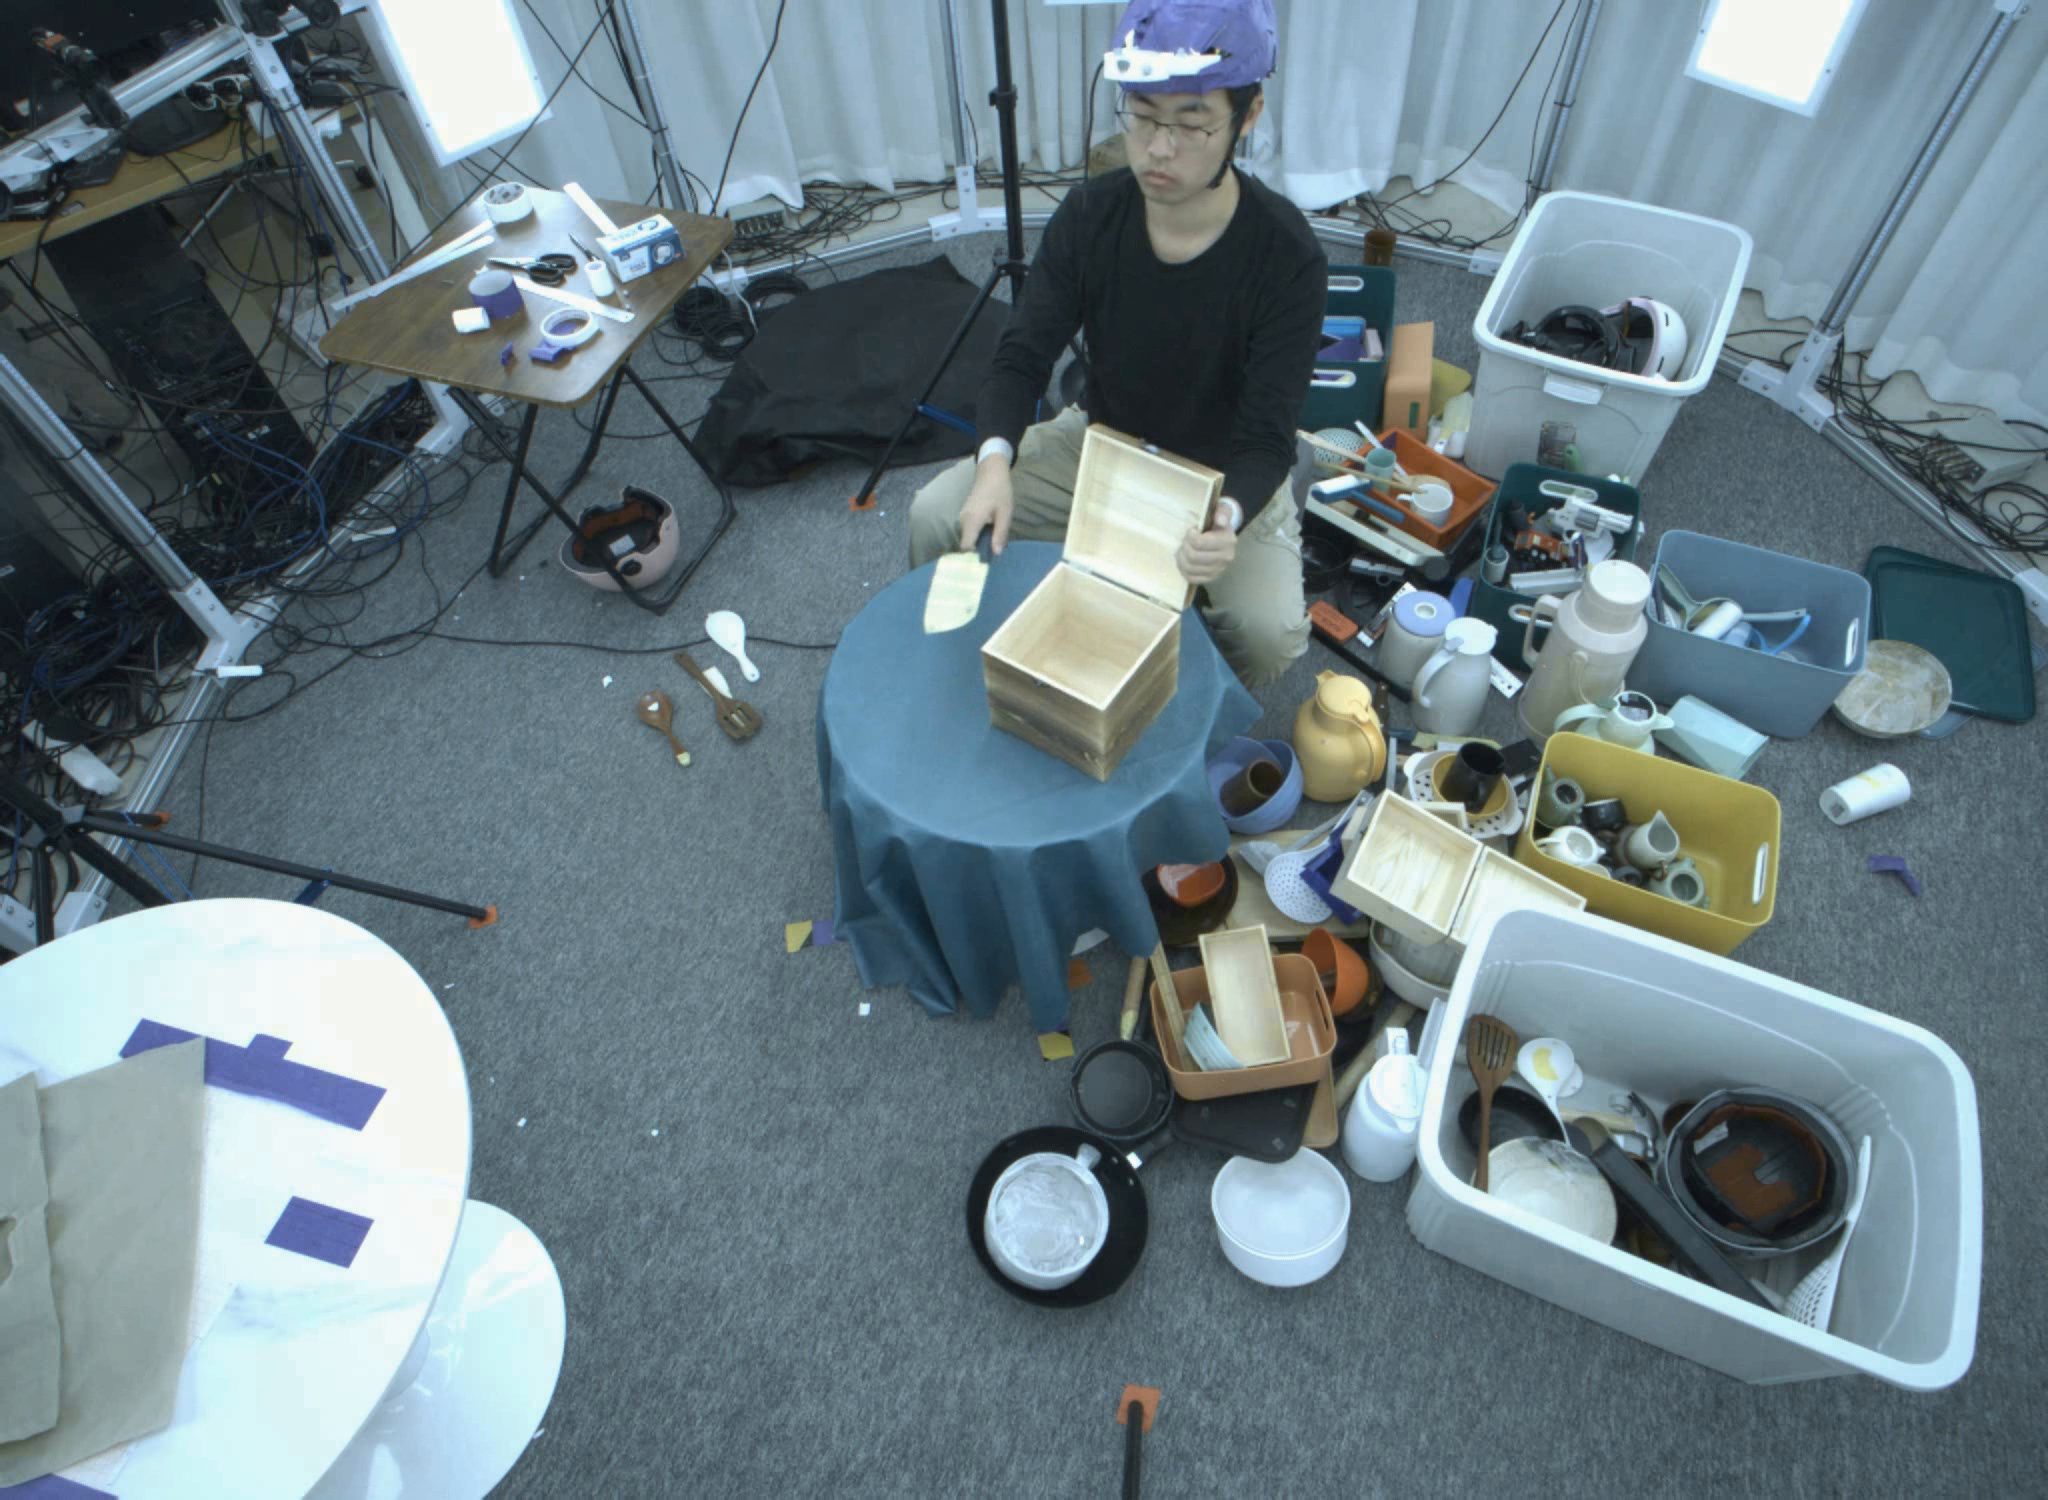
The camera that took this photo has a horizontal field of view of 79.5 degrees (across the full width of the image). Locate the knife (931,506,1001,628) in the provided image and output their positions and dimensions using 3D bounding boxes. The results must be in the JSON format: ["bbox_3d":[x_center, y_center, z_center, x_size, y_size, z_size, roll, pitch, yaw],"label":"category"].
[{"bbox_3d":[-0.082,-0.267,1.768,0.081,0.027,0.288,13,47,1],"label":"knife"}]

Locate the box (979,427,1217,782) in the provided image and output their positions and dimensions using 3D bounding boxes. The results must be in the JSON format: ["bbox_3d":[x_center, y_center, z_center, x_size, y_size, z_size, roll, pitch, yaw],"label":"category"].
[{"bbox_3d":[0.104,-0.206,1.708,0.205,0.380,0.323,27,60,22],"label":"box"}]
